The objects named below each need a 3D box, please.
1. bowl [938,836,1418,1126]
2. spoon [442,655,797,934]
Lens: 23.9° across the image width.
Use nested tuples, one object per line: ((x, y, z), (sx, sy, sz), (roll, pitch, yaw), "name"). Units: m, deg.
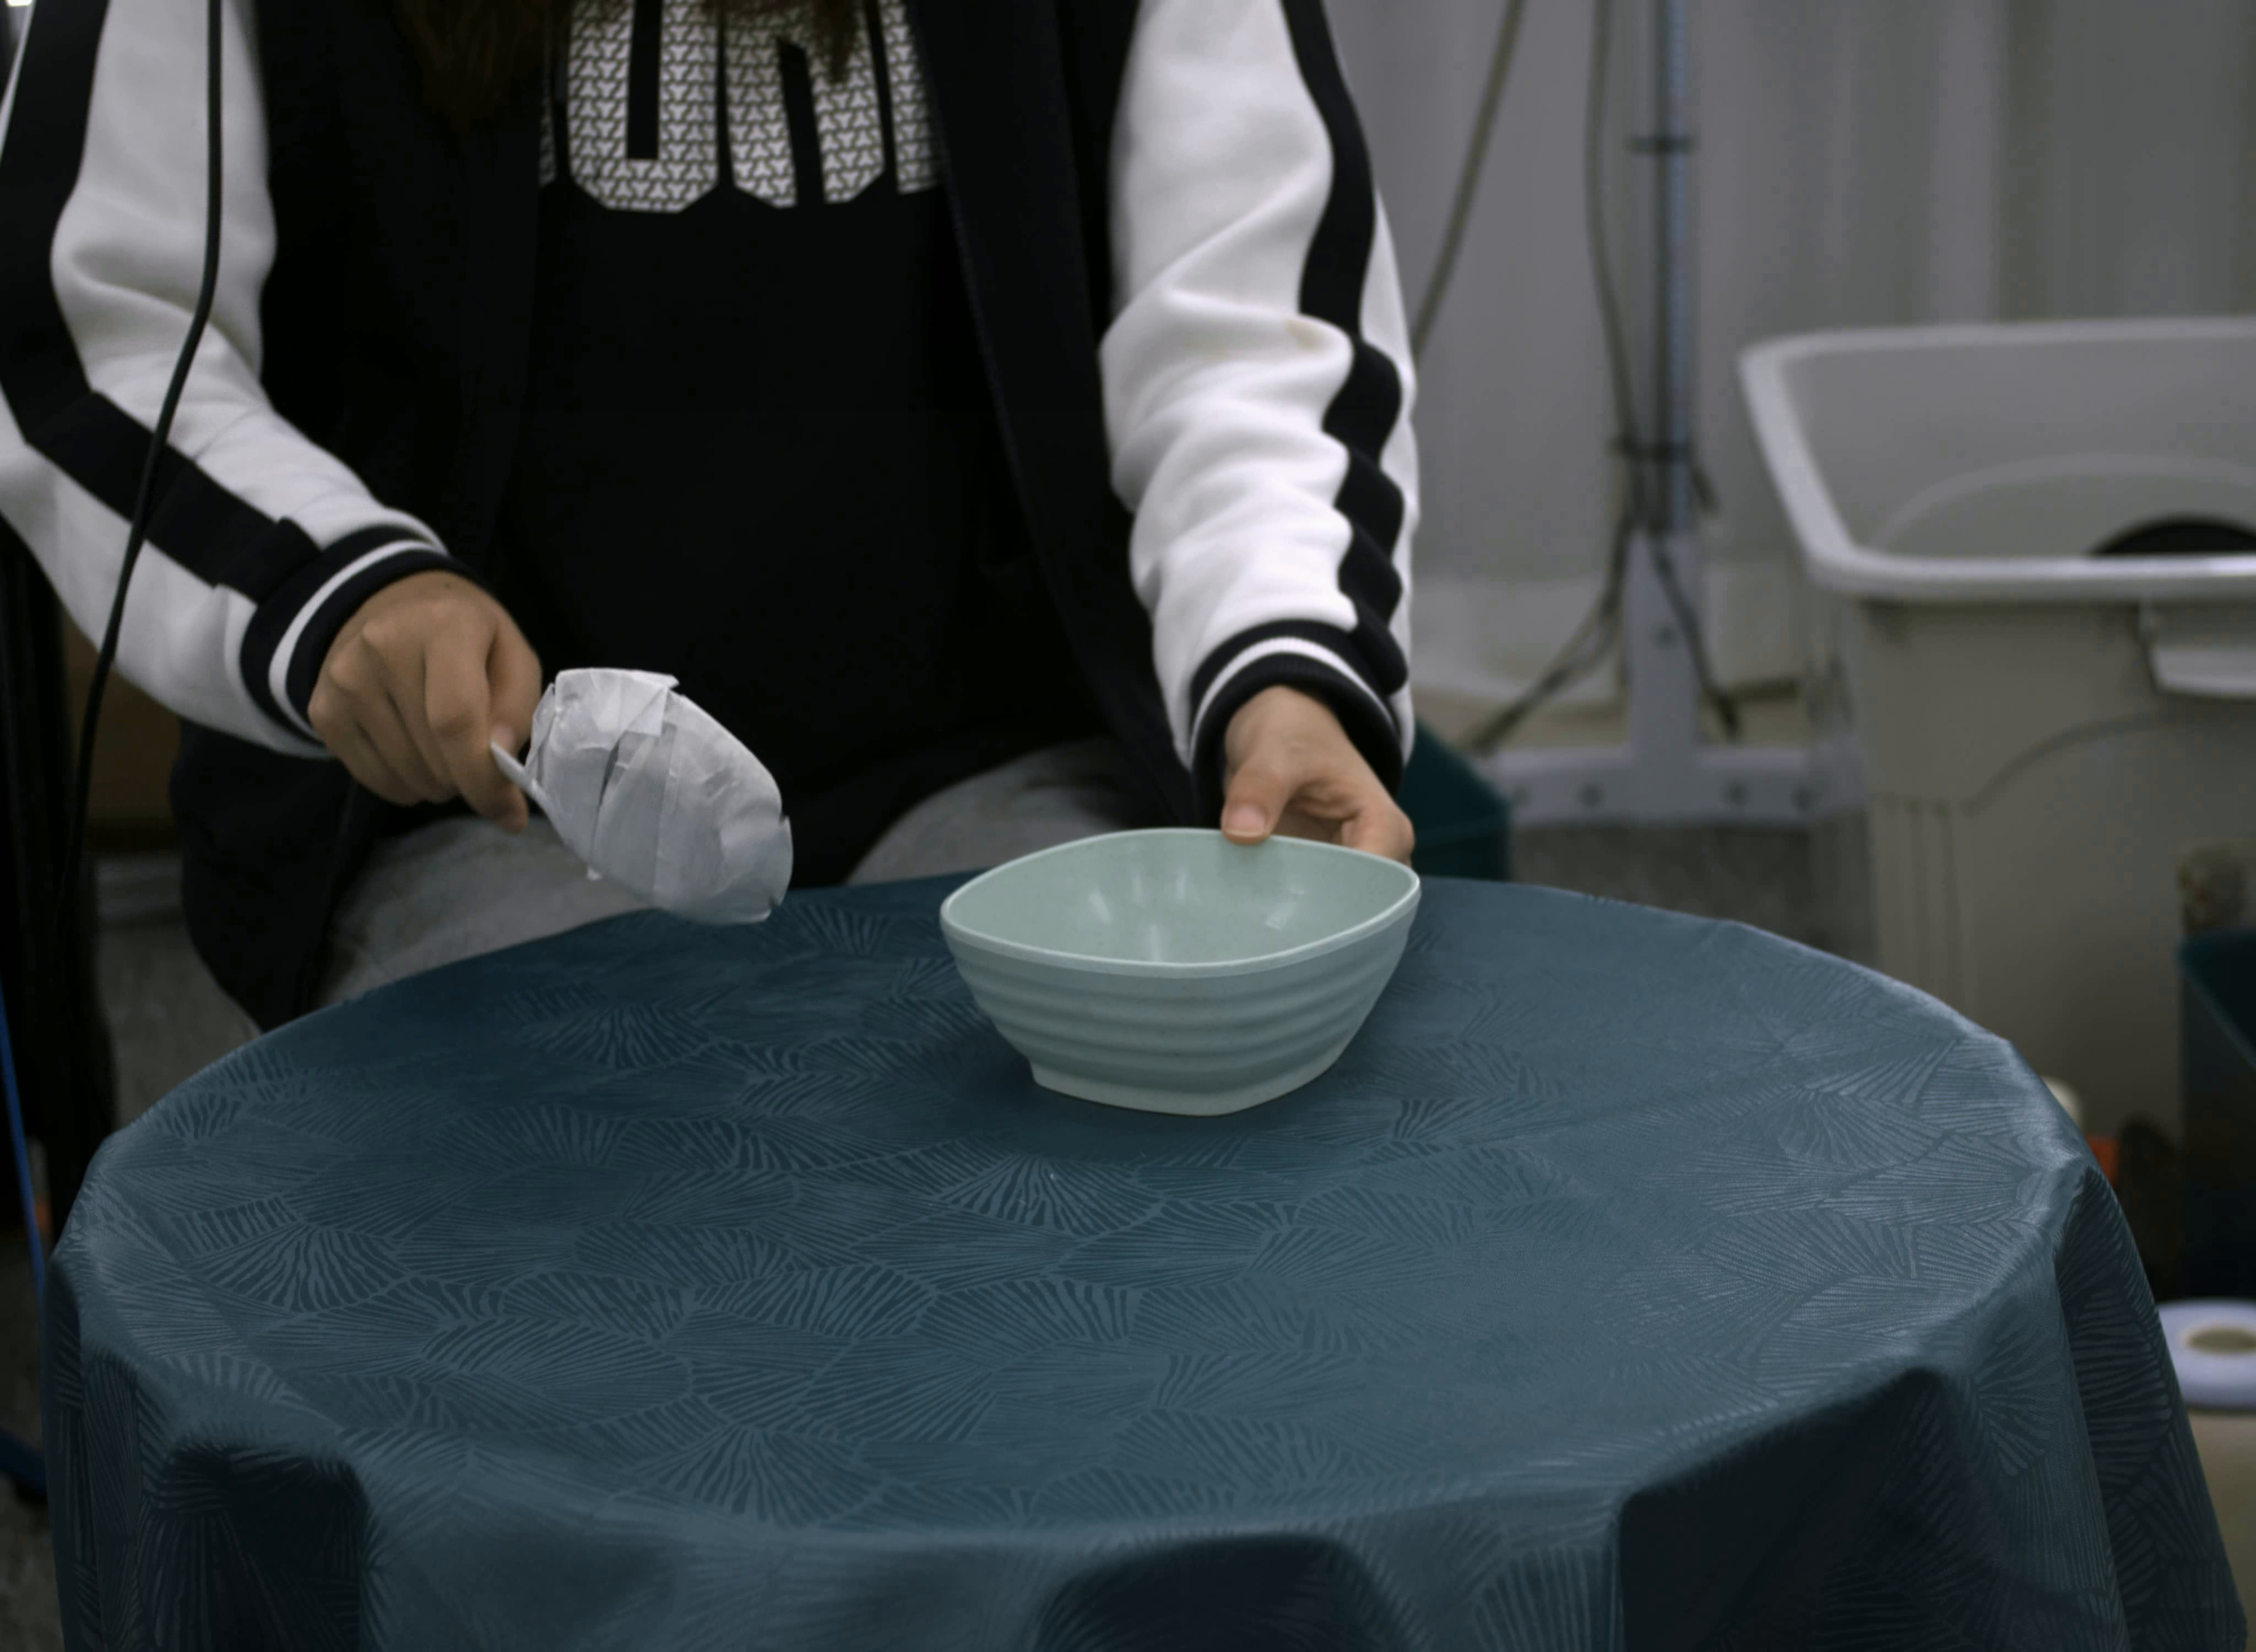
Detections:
((0.017, 0.051, 1.660), (0.150, 0.058, 0.152), (-2, 15, -1), "bowl")
((-0.164, -0.025, 1.679), (0.059, 0.100, 0.281), (-30, 17, -9), "spoon")
